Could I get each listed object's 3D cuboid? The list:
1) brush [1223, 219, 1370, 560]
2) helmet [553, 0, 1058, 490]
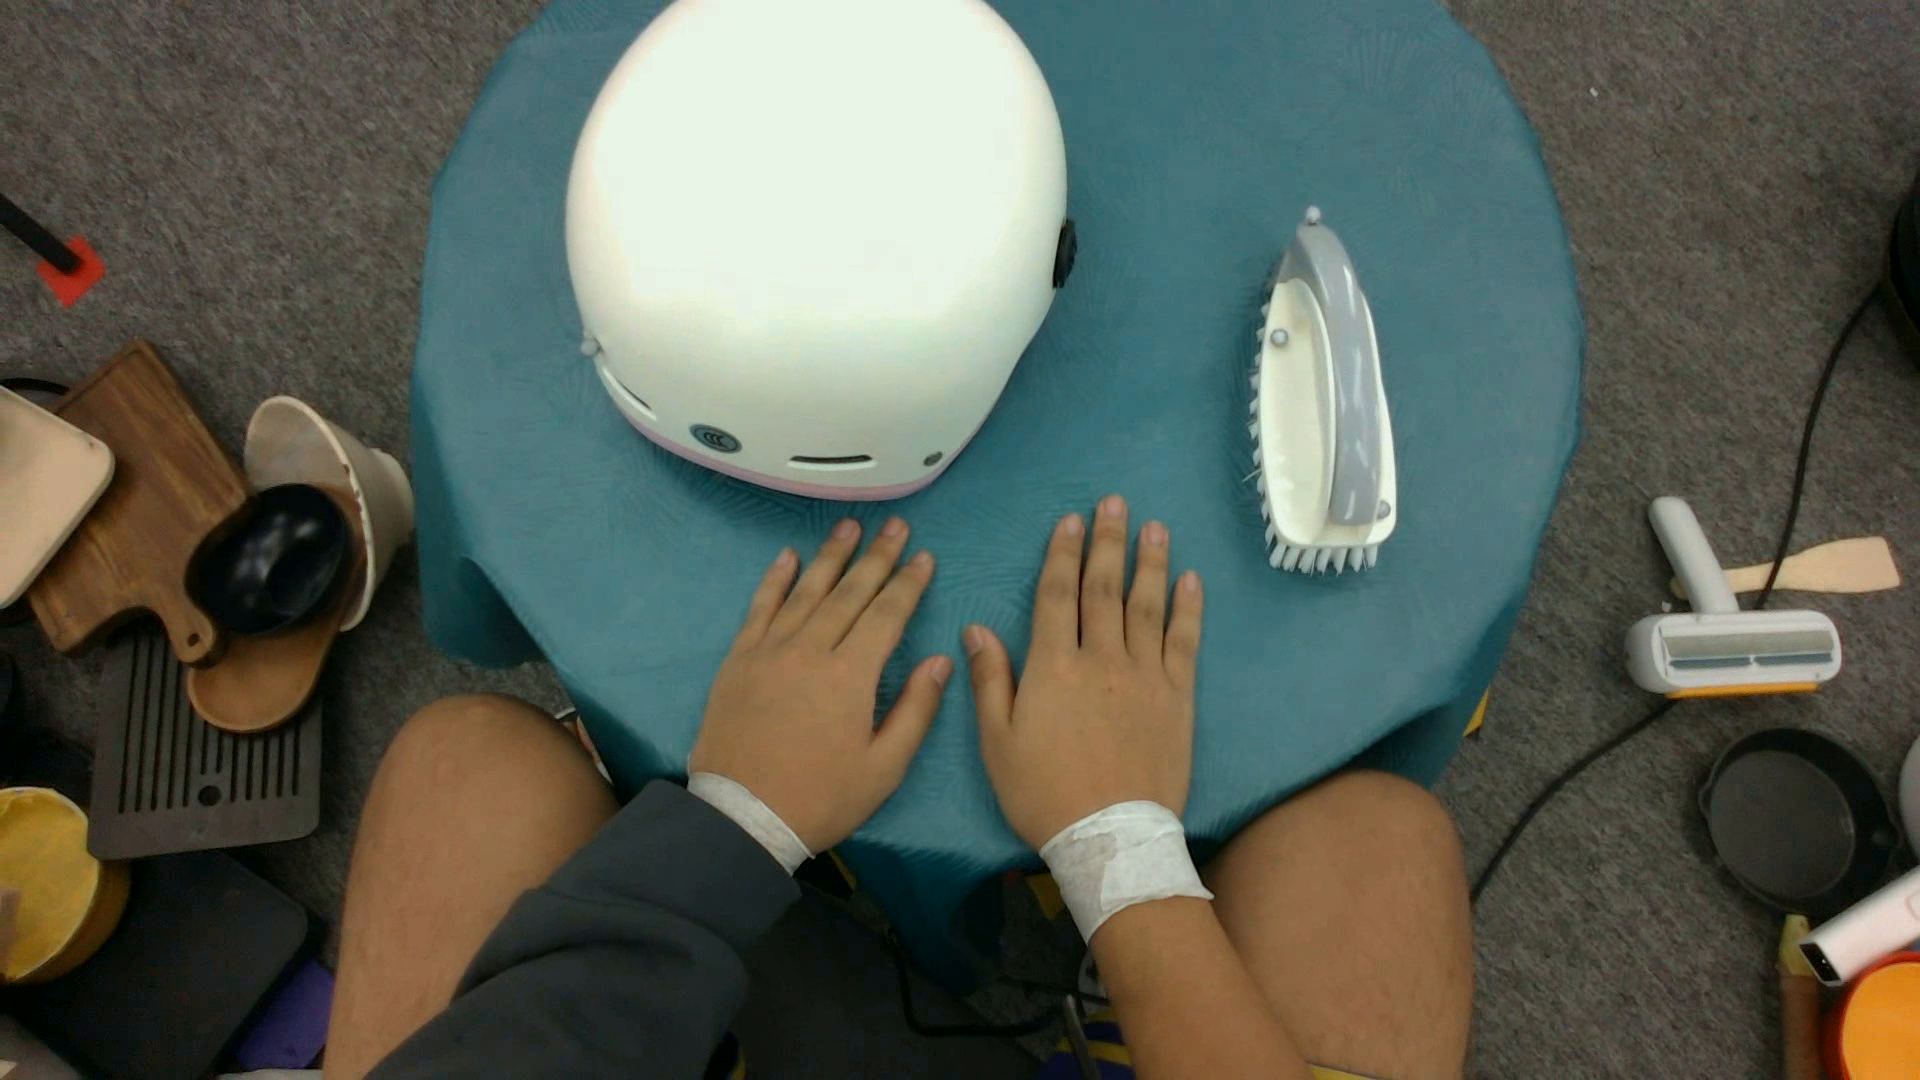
[{"bbox_3d":[0.163,-0.086,0.659,0.061,0.094,0.176,0,69,-4],"label":"brush"},{"bbox_3d":[-0.073,-0.170,0.642,0.237,0.166,0.269,20,71,6],"label":"helmet"}]
